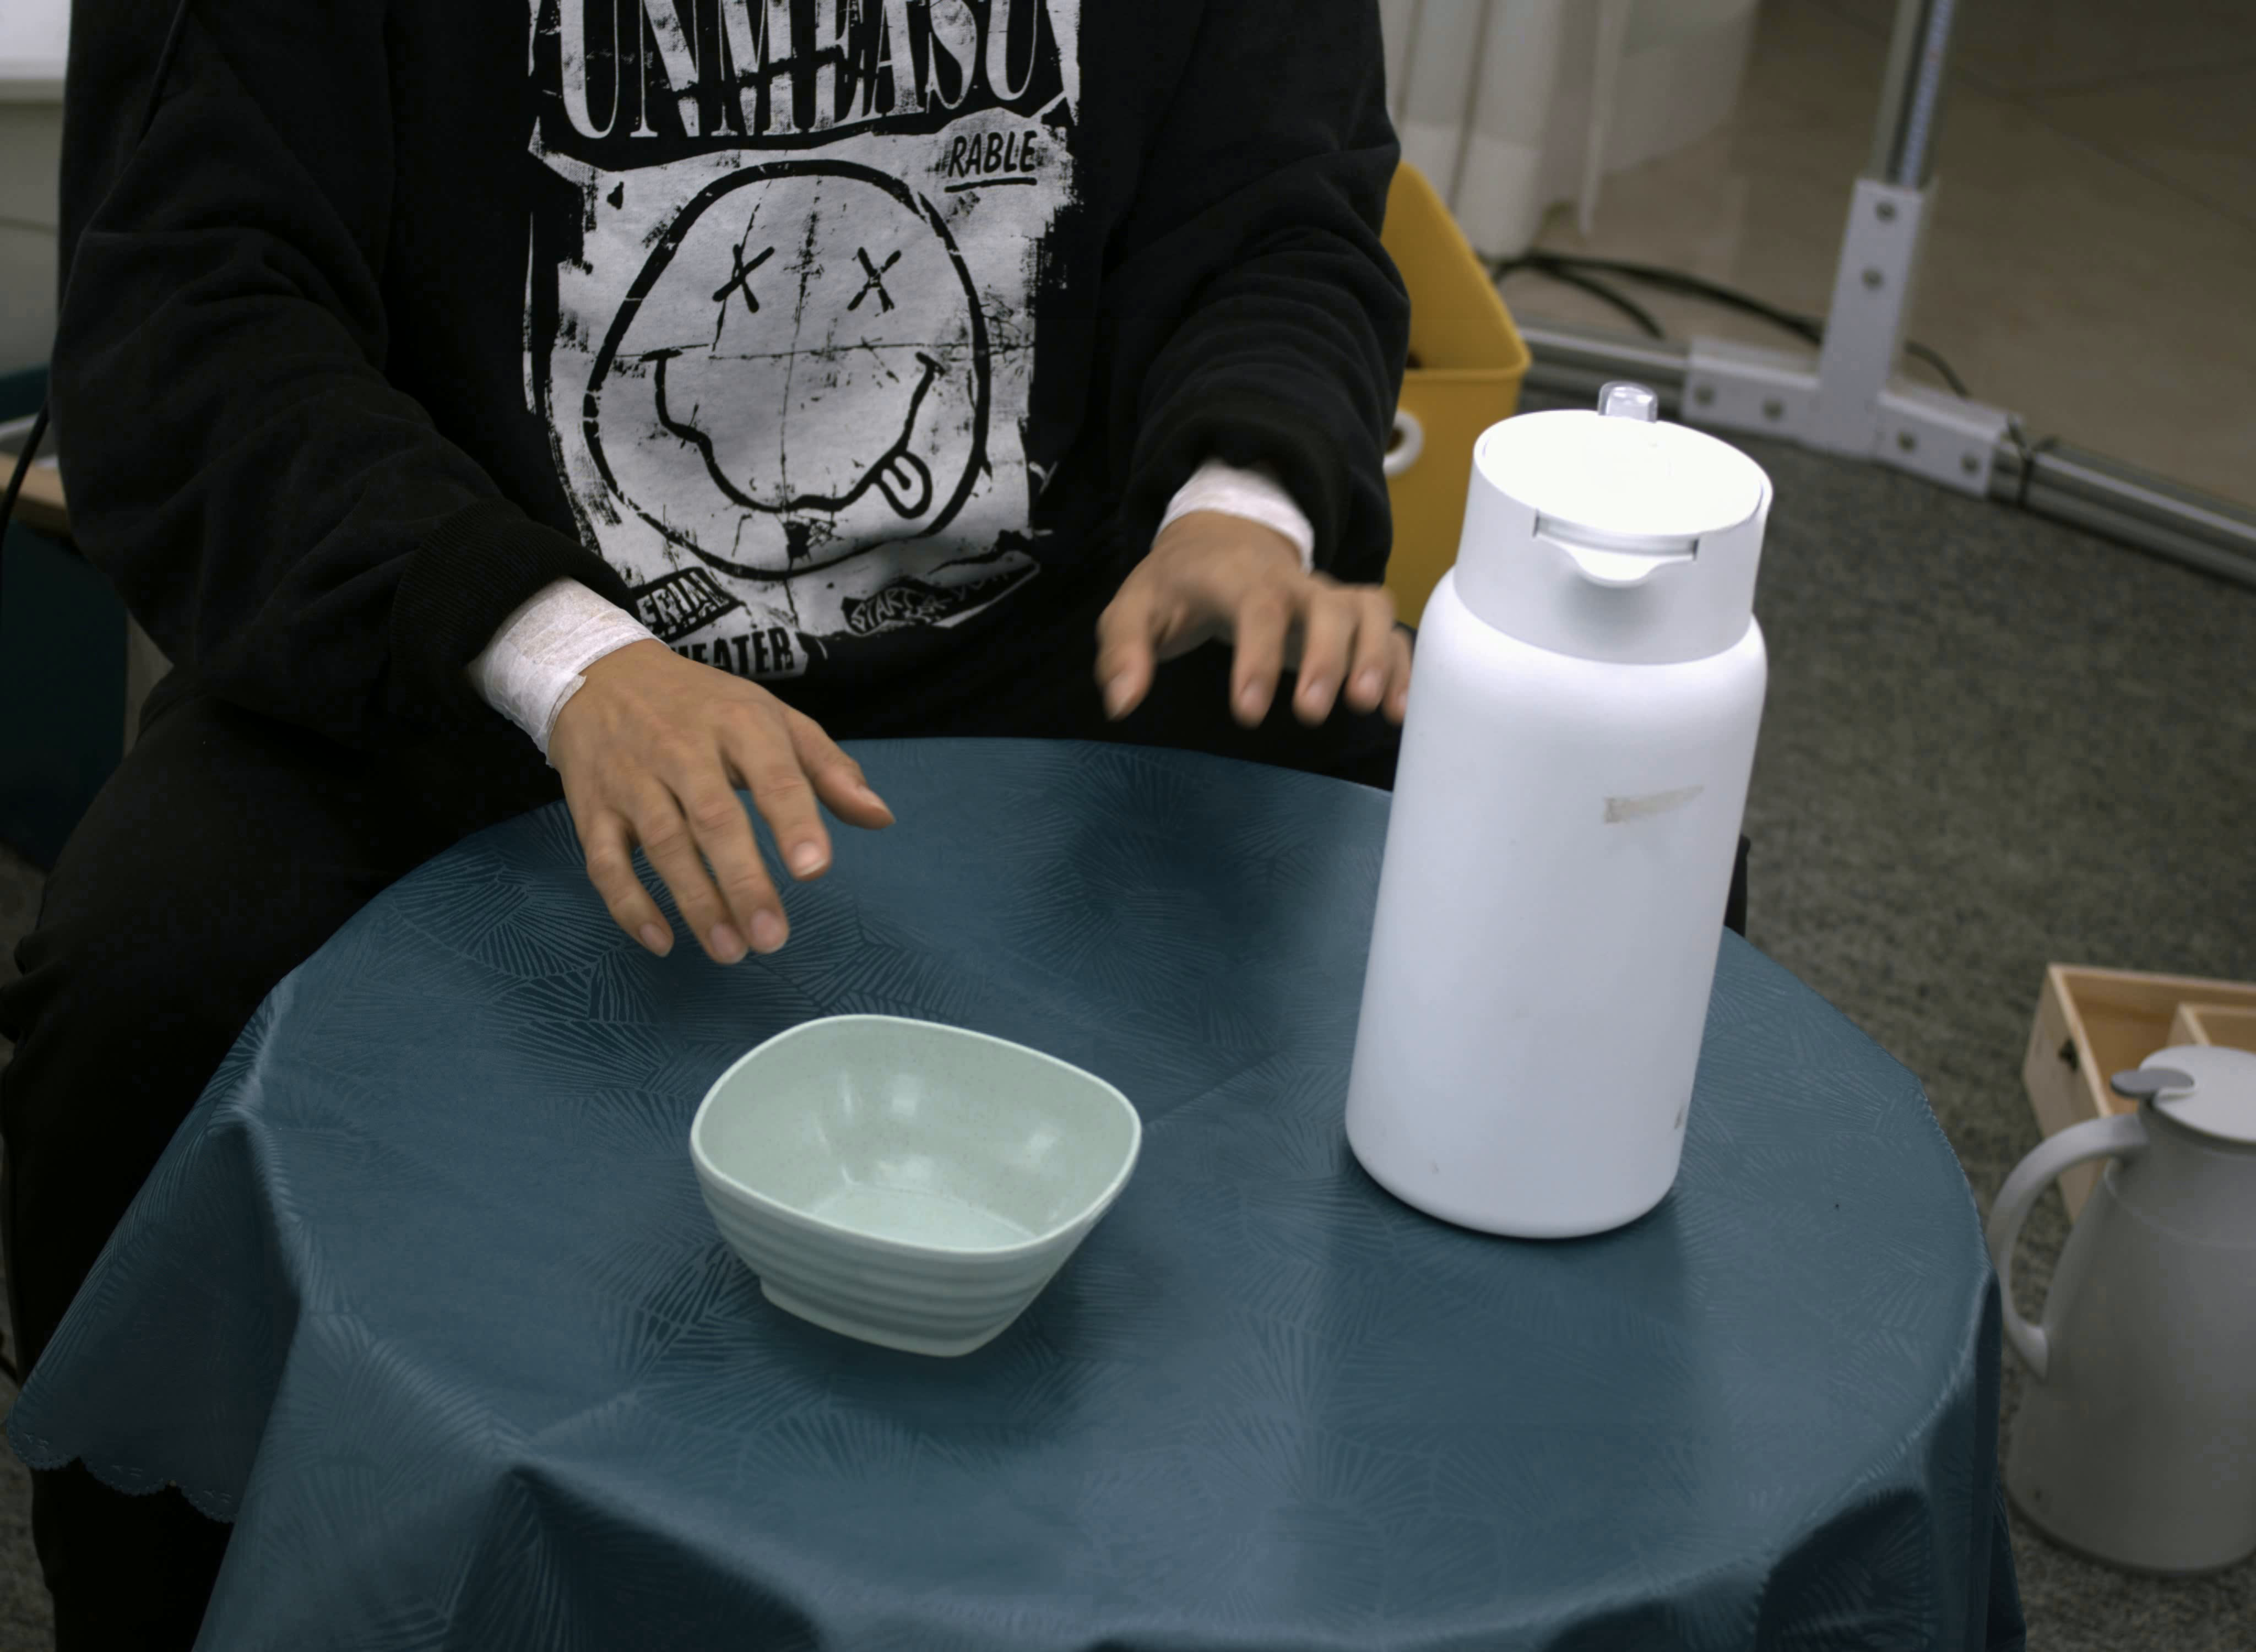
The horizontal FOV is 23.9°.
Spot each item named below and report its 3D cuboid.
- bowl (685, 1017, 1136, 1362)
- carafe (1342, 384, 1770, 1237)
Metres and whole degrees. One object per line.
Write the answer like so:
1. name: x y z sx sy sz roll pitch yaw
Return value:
1. bowl: -0.072 0.124 1.730 0.151 0.058 0.152 5 27 -3
2. carafe: 0.146 -0.009 1.805 0.123 0.268 0.173 6 27 3
